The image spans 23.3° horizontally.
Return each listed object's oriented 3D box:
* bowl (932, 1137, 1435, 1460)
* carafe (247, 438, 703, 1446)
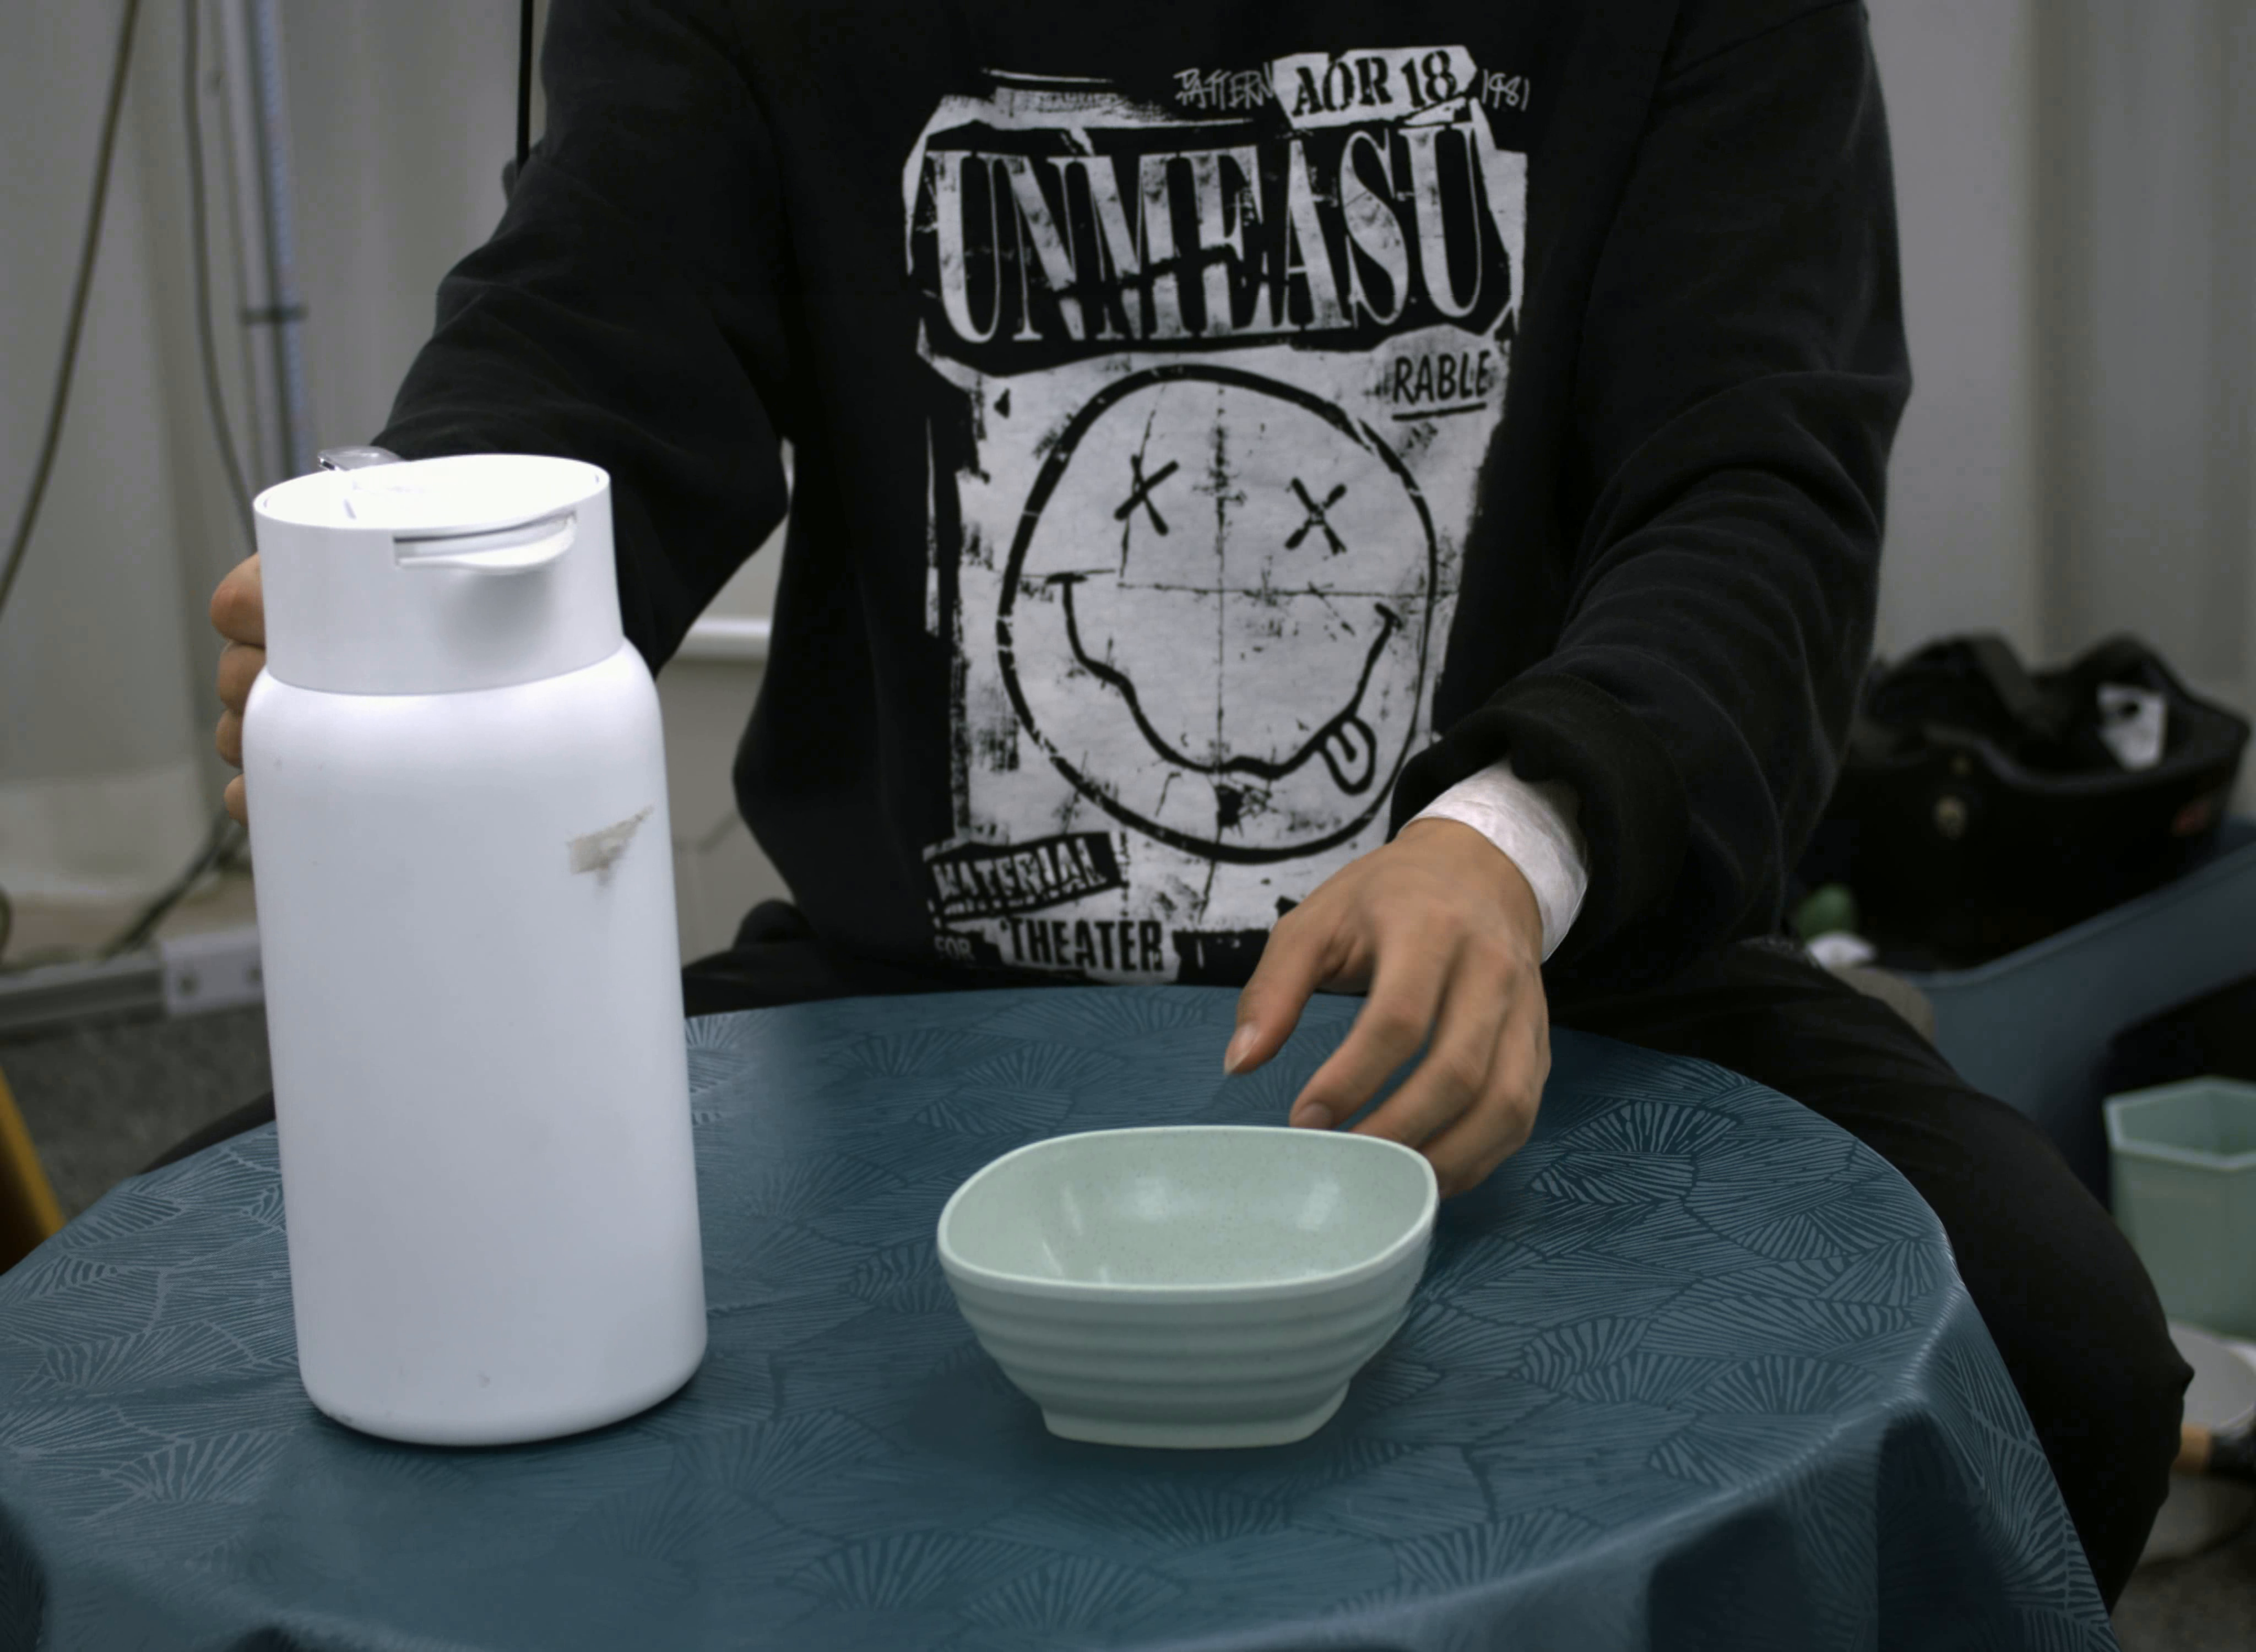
[{"bbox_3d":[0.017,0.136,1.532,0.151,0.058,0.152,-2,14,0],"label":"bowl"},{"bbox_3d":[-0.194,0.029,1.558,0.123,0.268,0.174,-12,16,-26],"label":"carafe"}]
